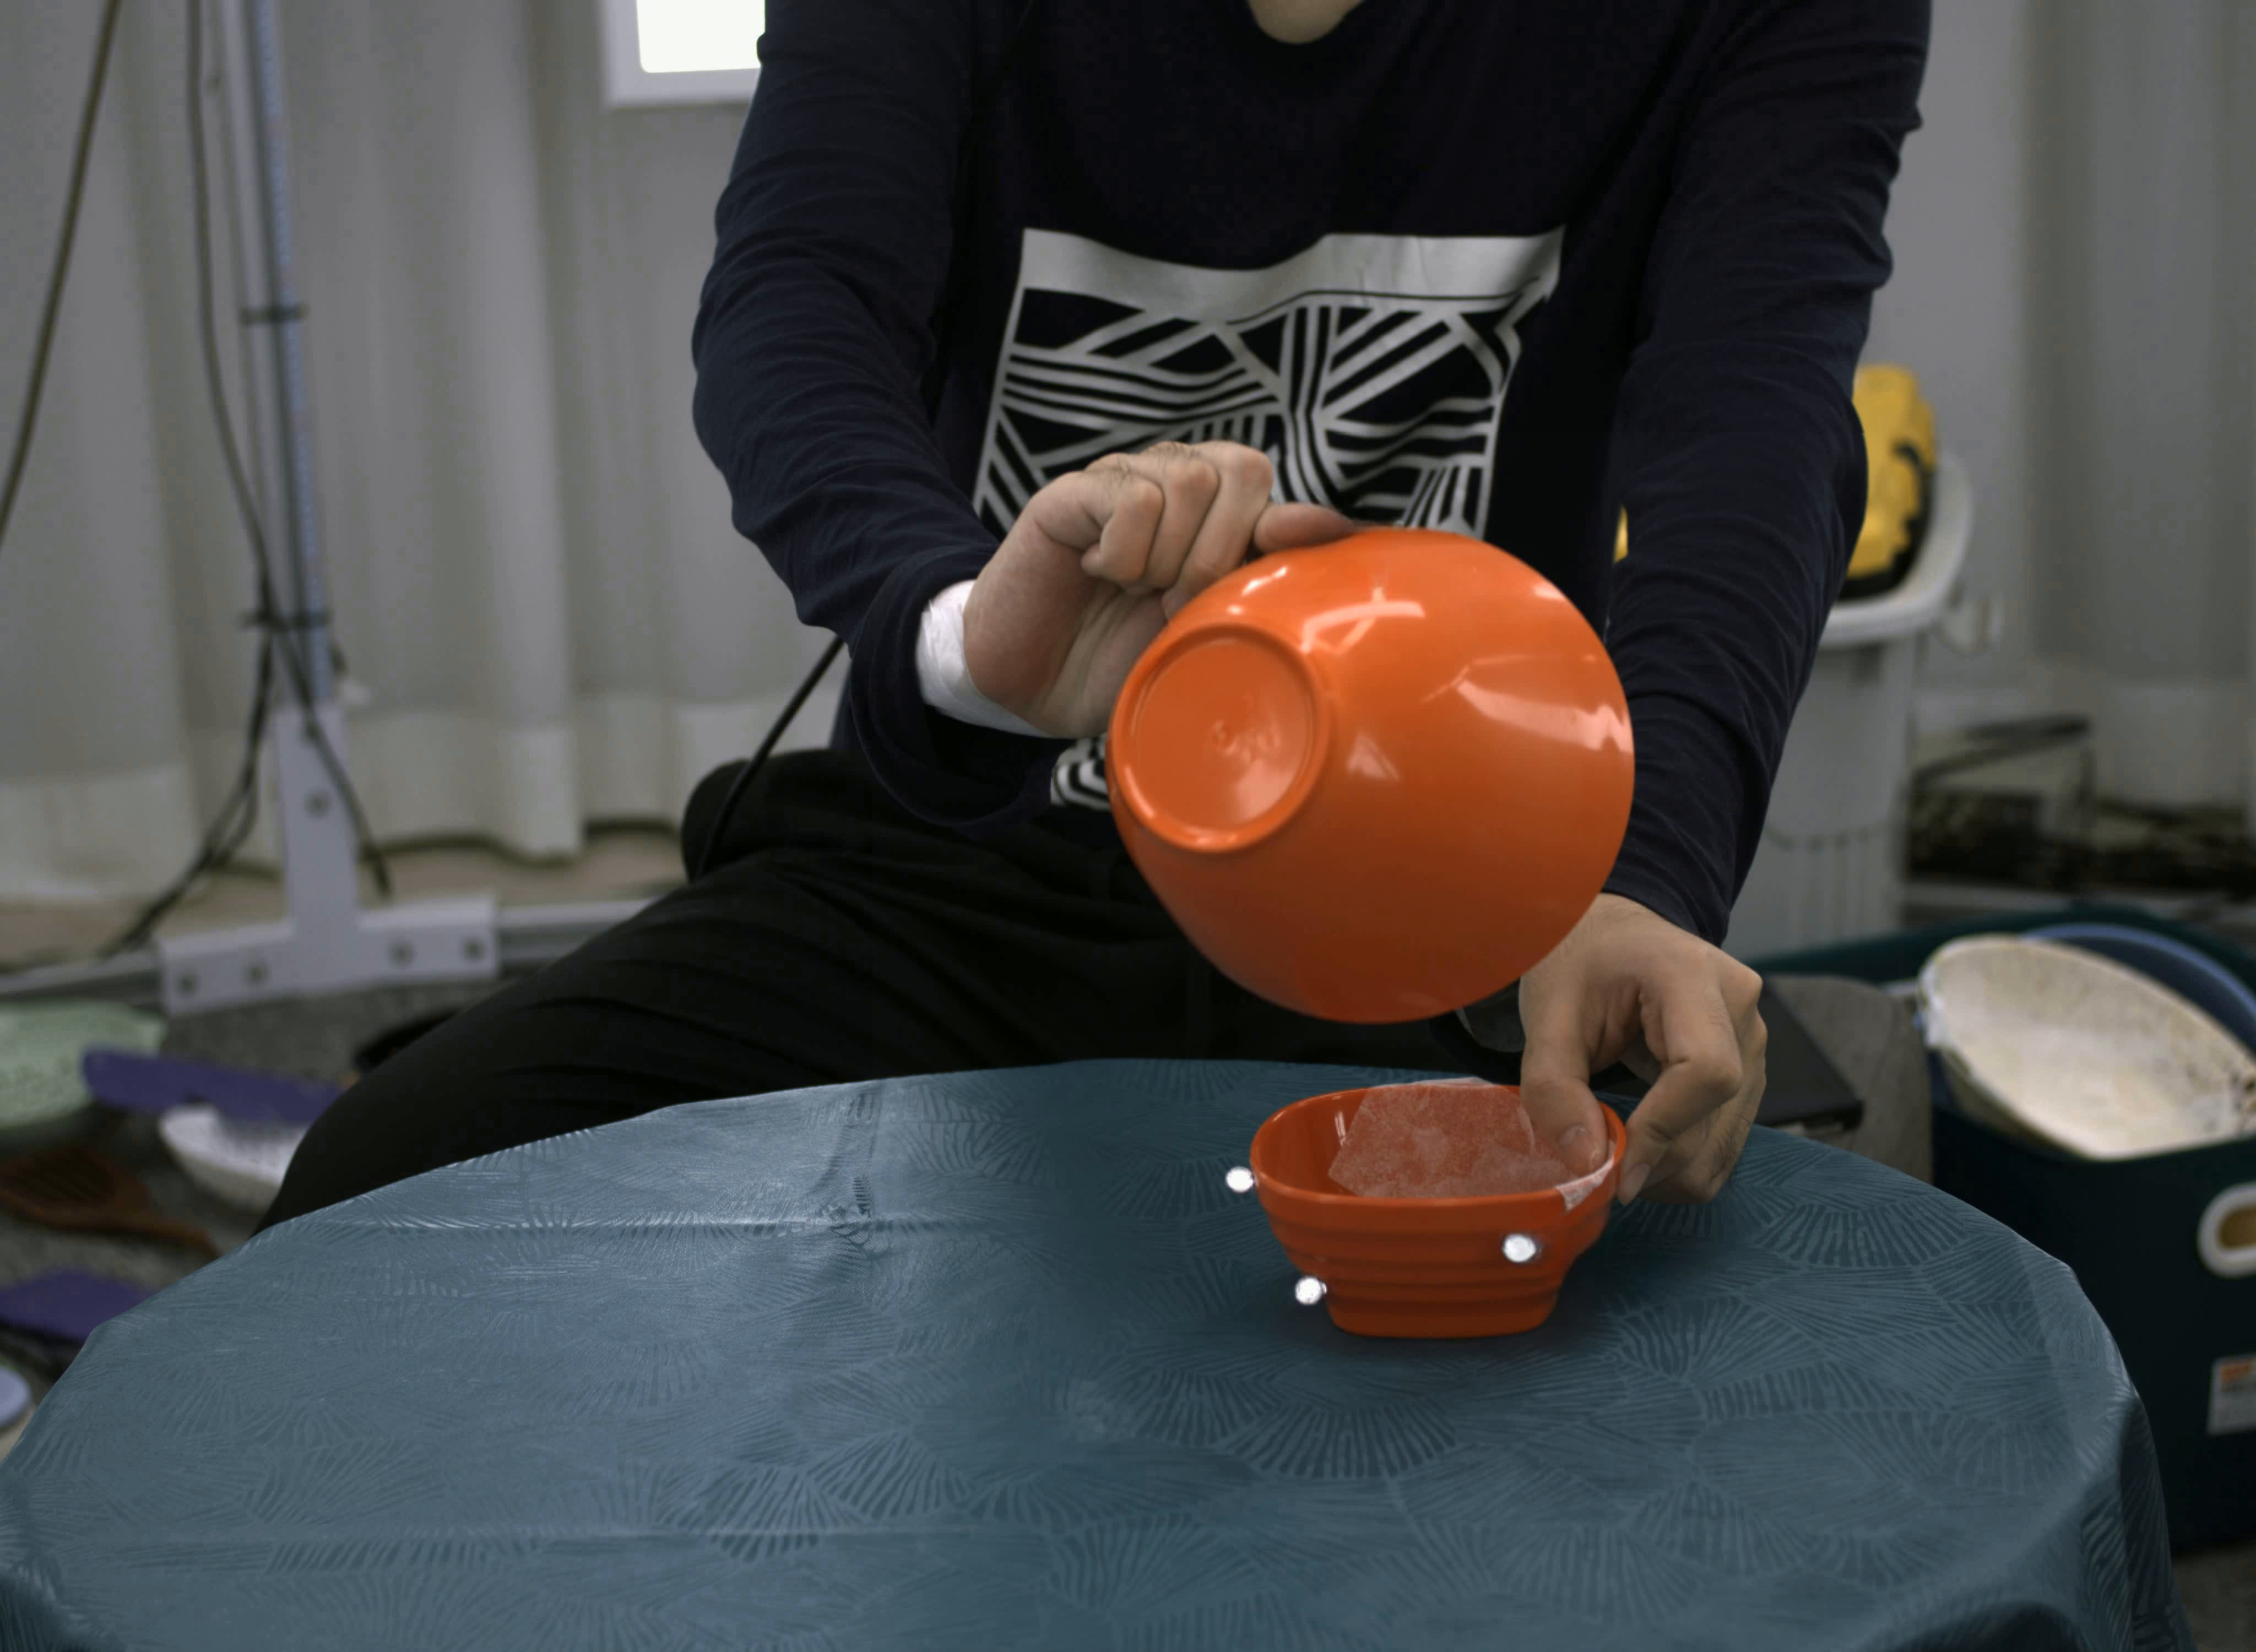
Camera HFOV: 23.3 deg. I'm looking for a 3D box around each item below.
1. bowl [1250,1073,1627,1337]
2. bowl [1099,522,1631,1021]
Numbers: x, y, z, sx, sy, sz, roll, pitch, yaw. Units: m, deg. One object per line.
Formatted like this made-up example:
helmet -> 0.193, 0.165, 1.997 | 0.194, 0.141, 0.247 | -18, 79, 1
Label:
bowl -> 0.092, 0.114, 1.599 | 0.118, 0.051, 0.120 | -4, 16, 1
bowl -> 0.056, -0.021, 1.560 | 0.148, 0.149, 0.104 | 5, -6, 27
